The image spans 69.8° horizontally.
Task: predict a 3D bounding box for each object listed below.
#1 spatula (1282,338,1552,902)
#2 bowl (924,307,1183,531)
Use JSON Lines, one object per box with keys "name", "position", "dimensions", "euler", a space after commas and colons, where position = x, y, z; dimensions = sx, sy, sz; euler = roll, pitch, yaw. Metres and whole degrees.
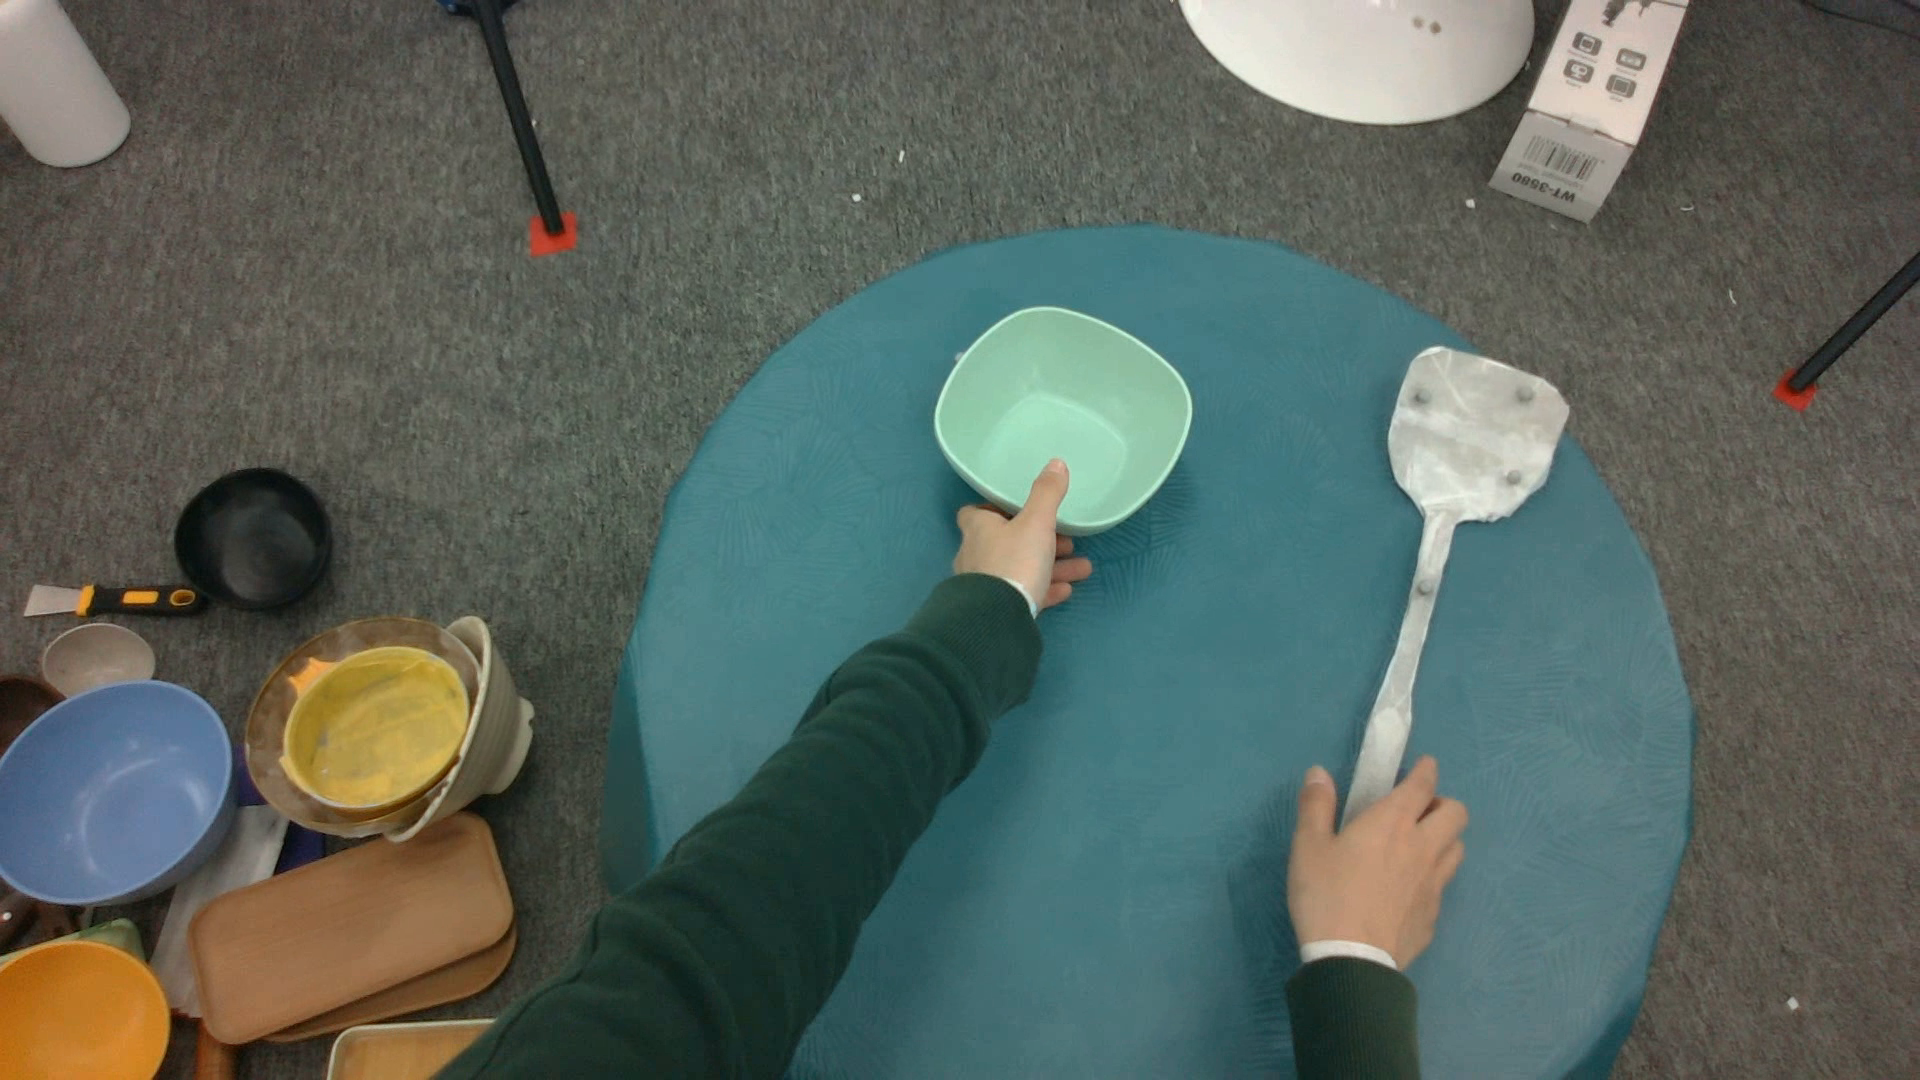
{"name": "spatula", "position": [0.251, 0.038, 0.782], "dimensions": [0.098, 0.044, 0.366], "euler": [23, 62, 6]}
{"name": "bowl", "position": [0.053, -0.062, 0.811], "dimensions": [0.151, 0.058, 0.152], "euler": [1, 59, -2]}
